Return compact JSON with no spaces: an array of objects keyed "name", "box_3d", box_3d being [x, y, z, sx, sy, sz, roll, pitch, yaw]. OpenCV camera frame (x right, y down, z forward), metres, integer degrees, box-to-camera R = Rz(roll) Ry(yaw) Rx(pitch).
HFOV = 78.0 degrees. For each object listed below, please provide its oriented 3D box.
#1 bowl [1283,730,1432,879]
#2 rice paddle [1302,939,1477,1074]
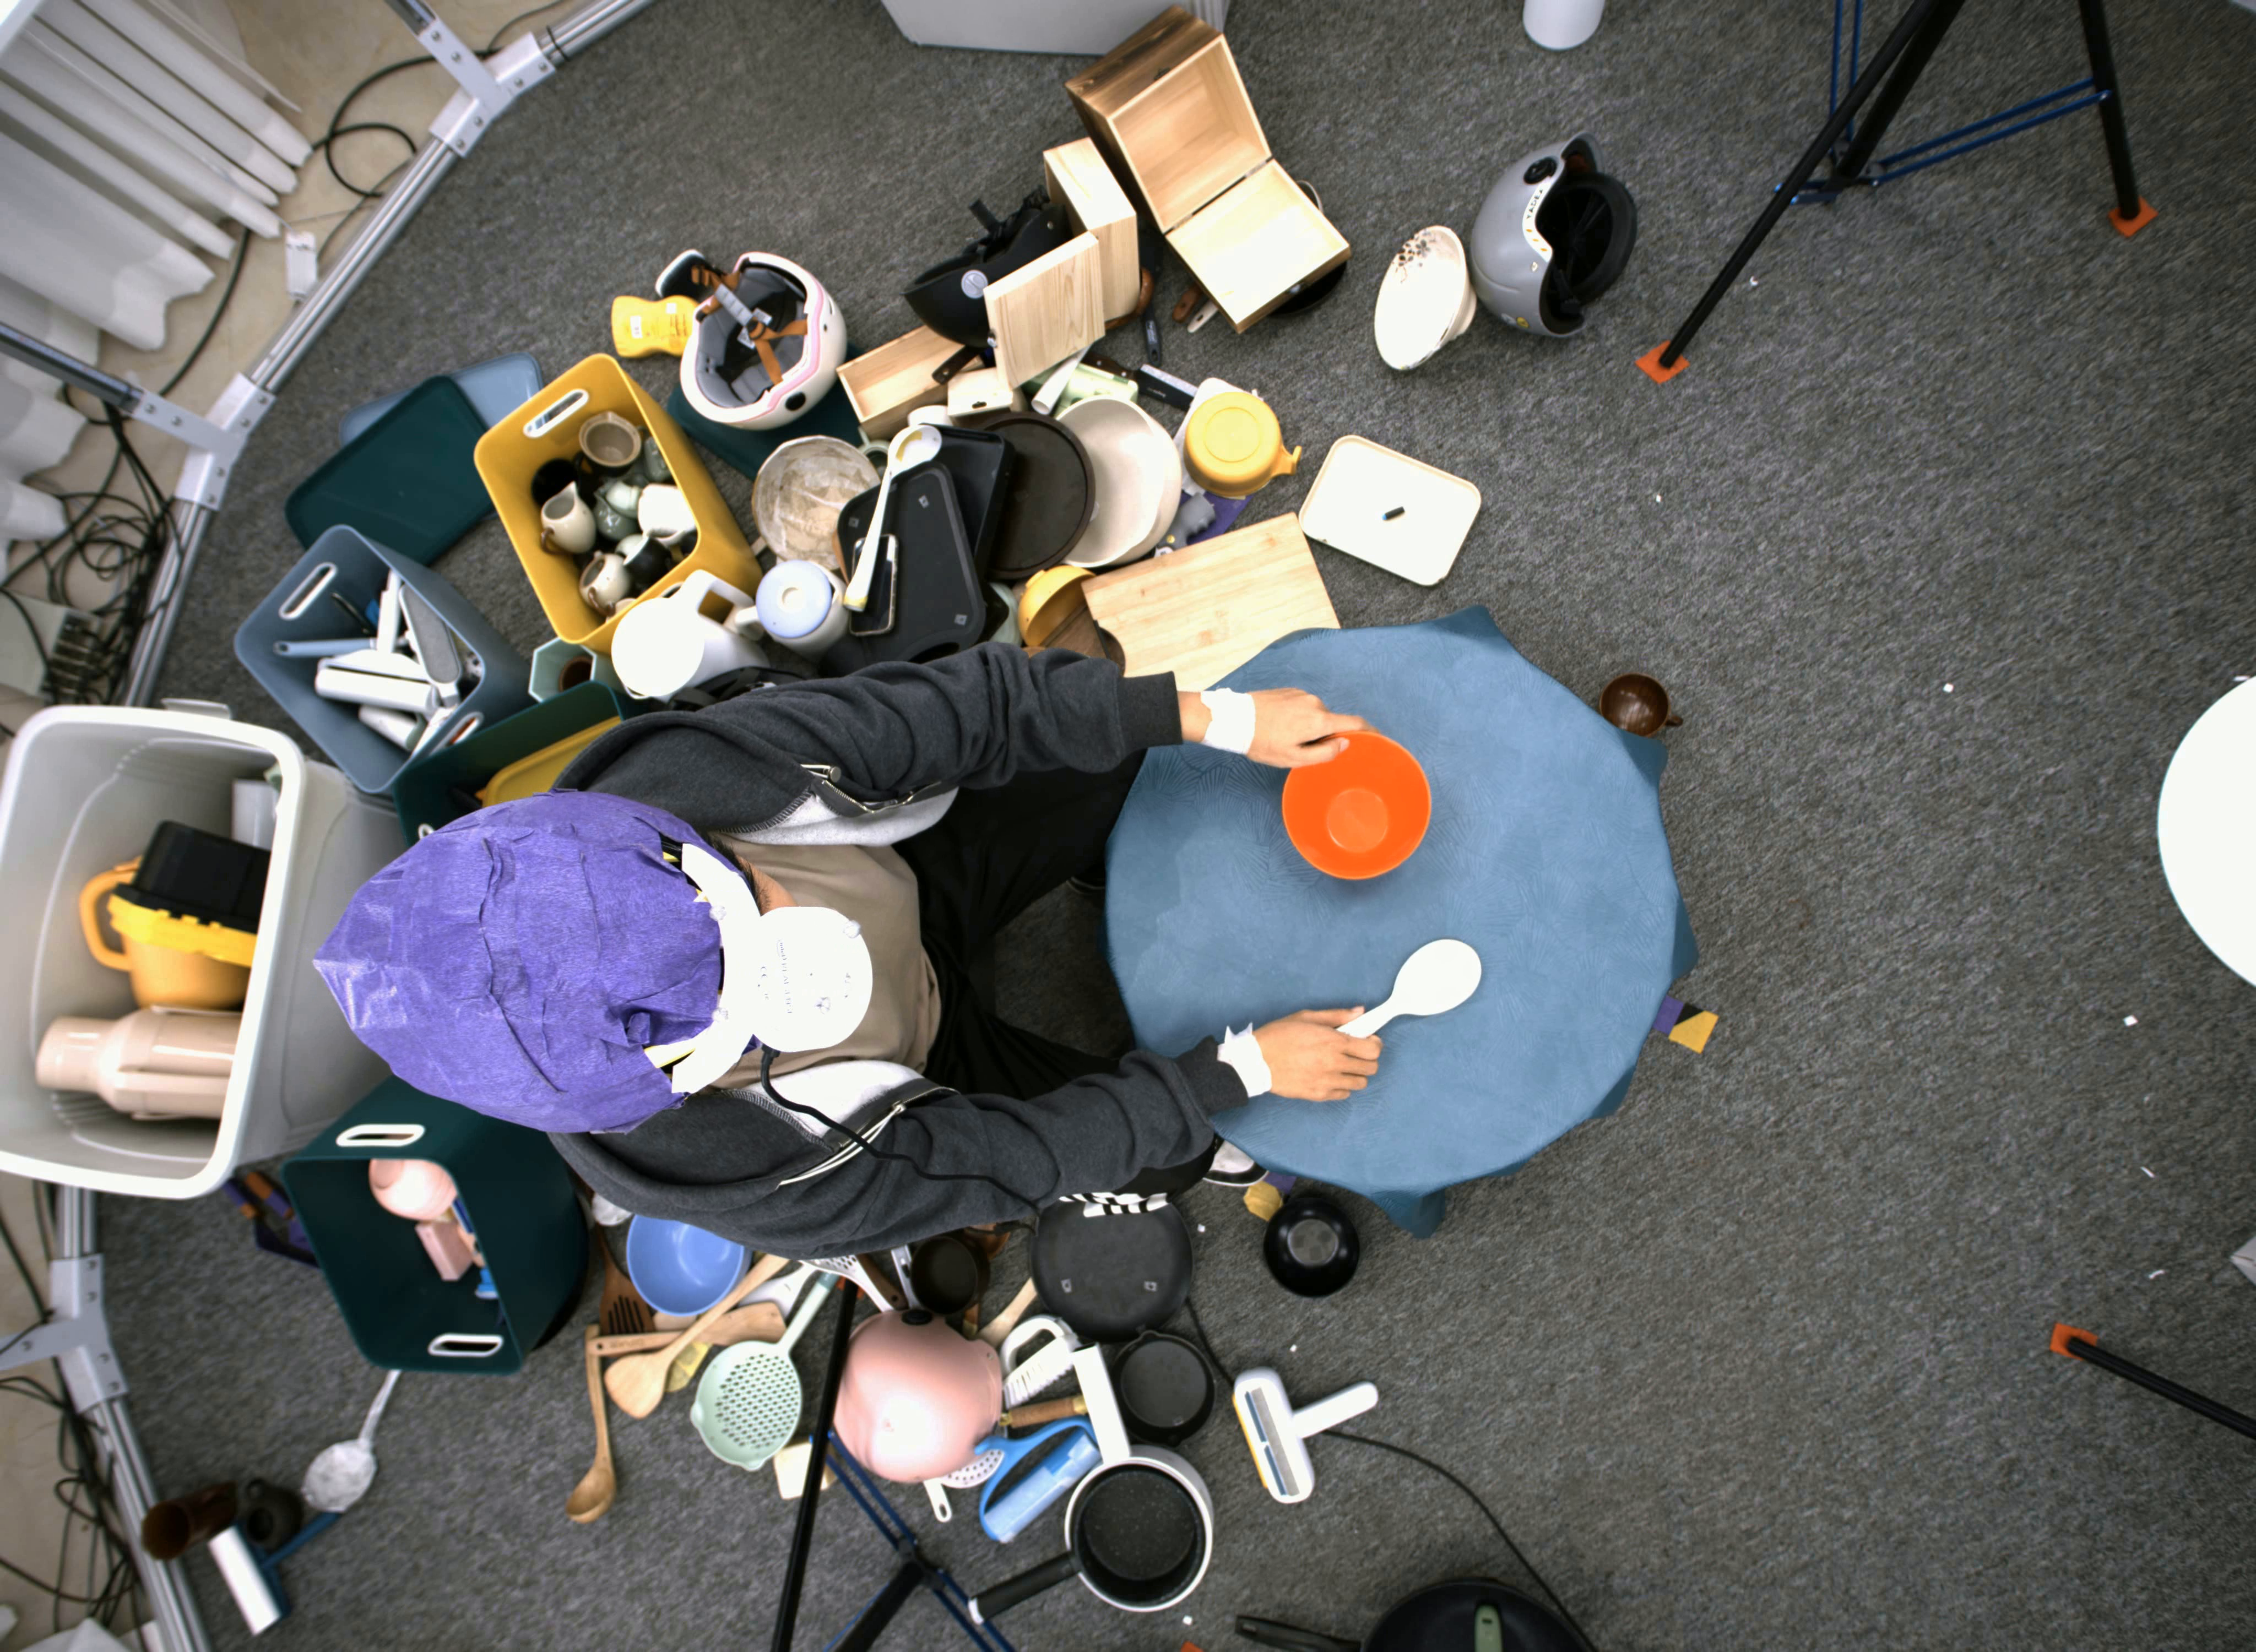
[{"name":"bowl","box_3d":[0.235,-0.021,1.418,0.148,0.104,0.148,0,90,10]},{"name":"rice paddle","box_3d":[0.272,0.186,1.433,0.206,0.029,0.068,-34,75,3]}]
